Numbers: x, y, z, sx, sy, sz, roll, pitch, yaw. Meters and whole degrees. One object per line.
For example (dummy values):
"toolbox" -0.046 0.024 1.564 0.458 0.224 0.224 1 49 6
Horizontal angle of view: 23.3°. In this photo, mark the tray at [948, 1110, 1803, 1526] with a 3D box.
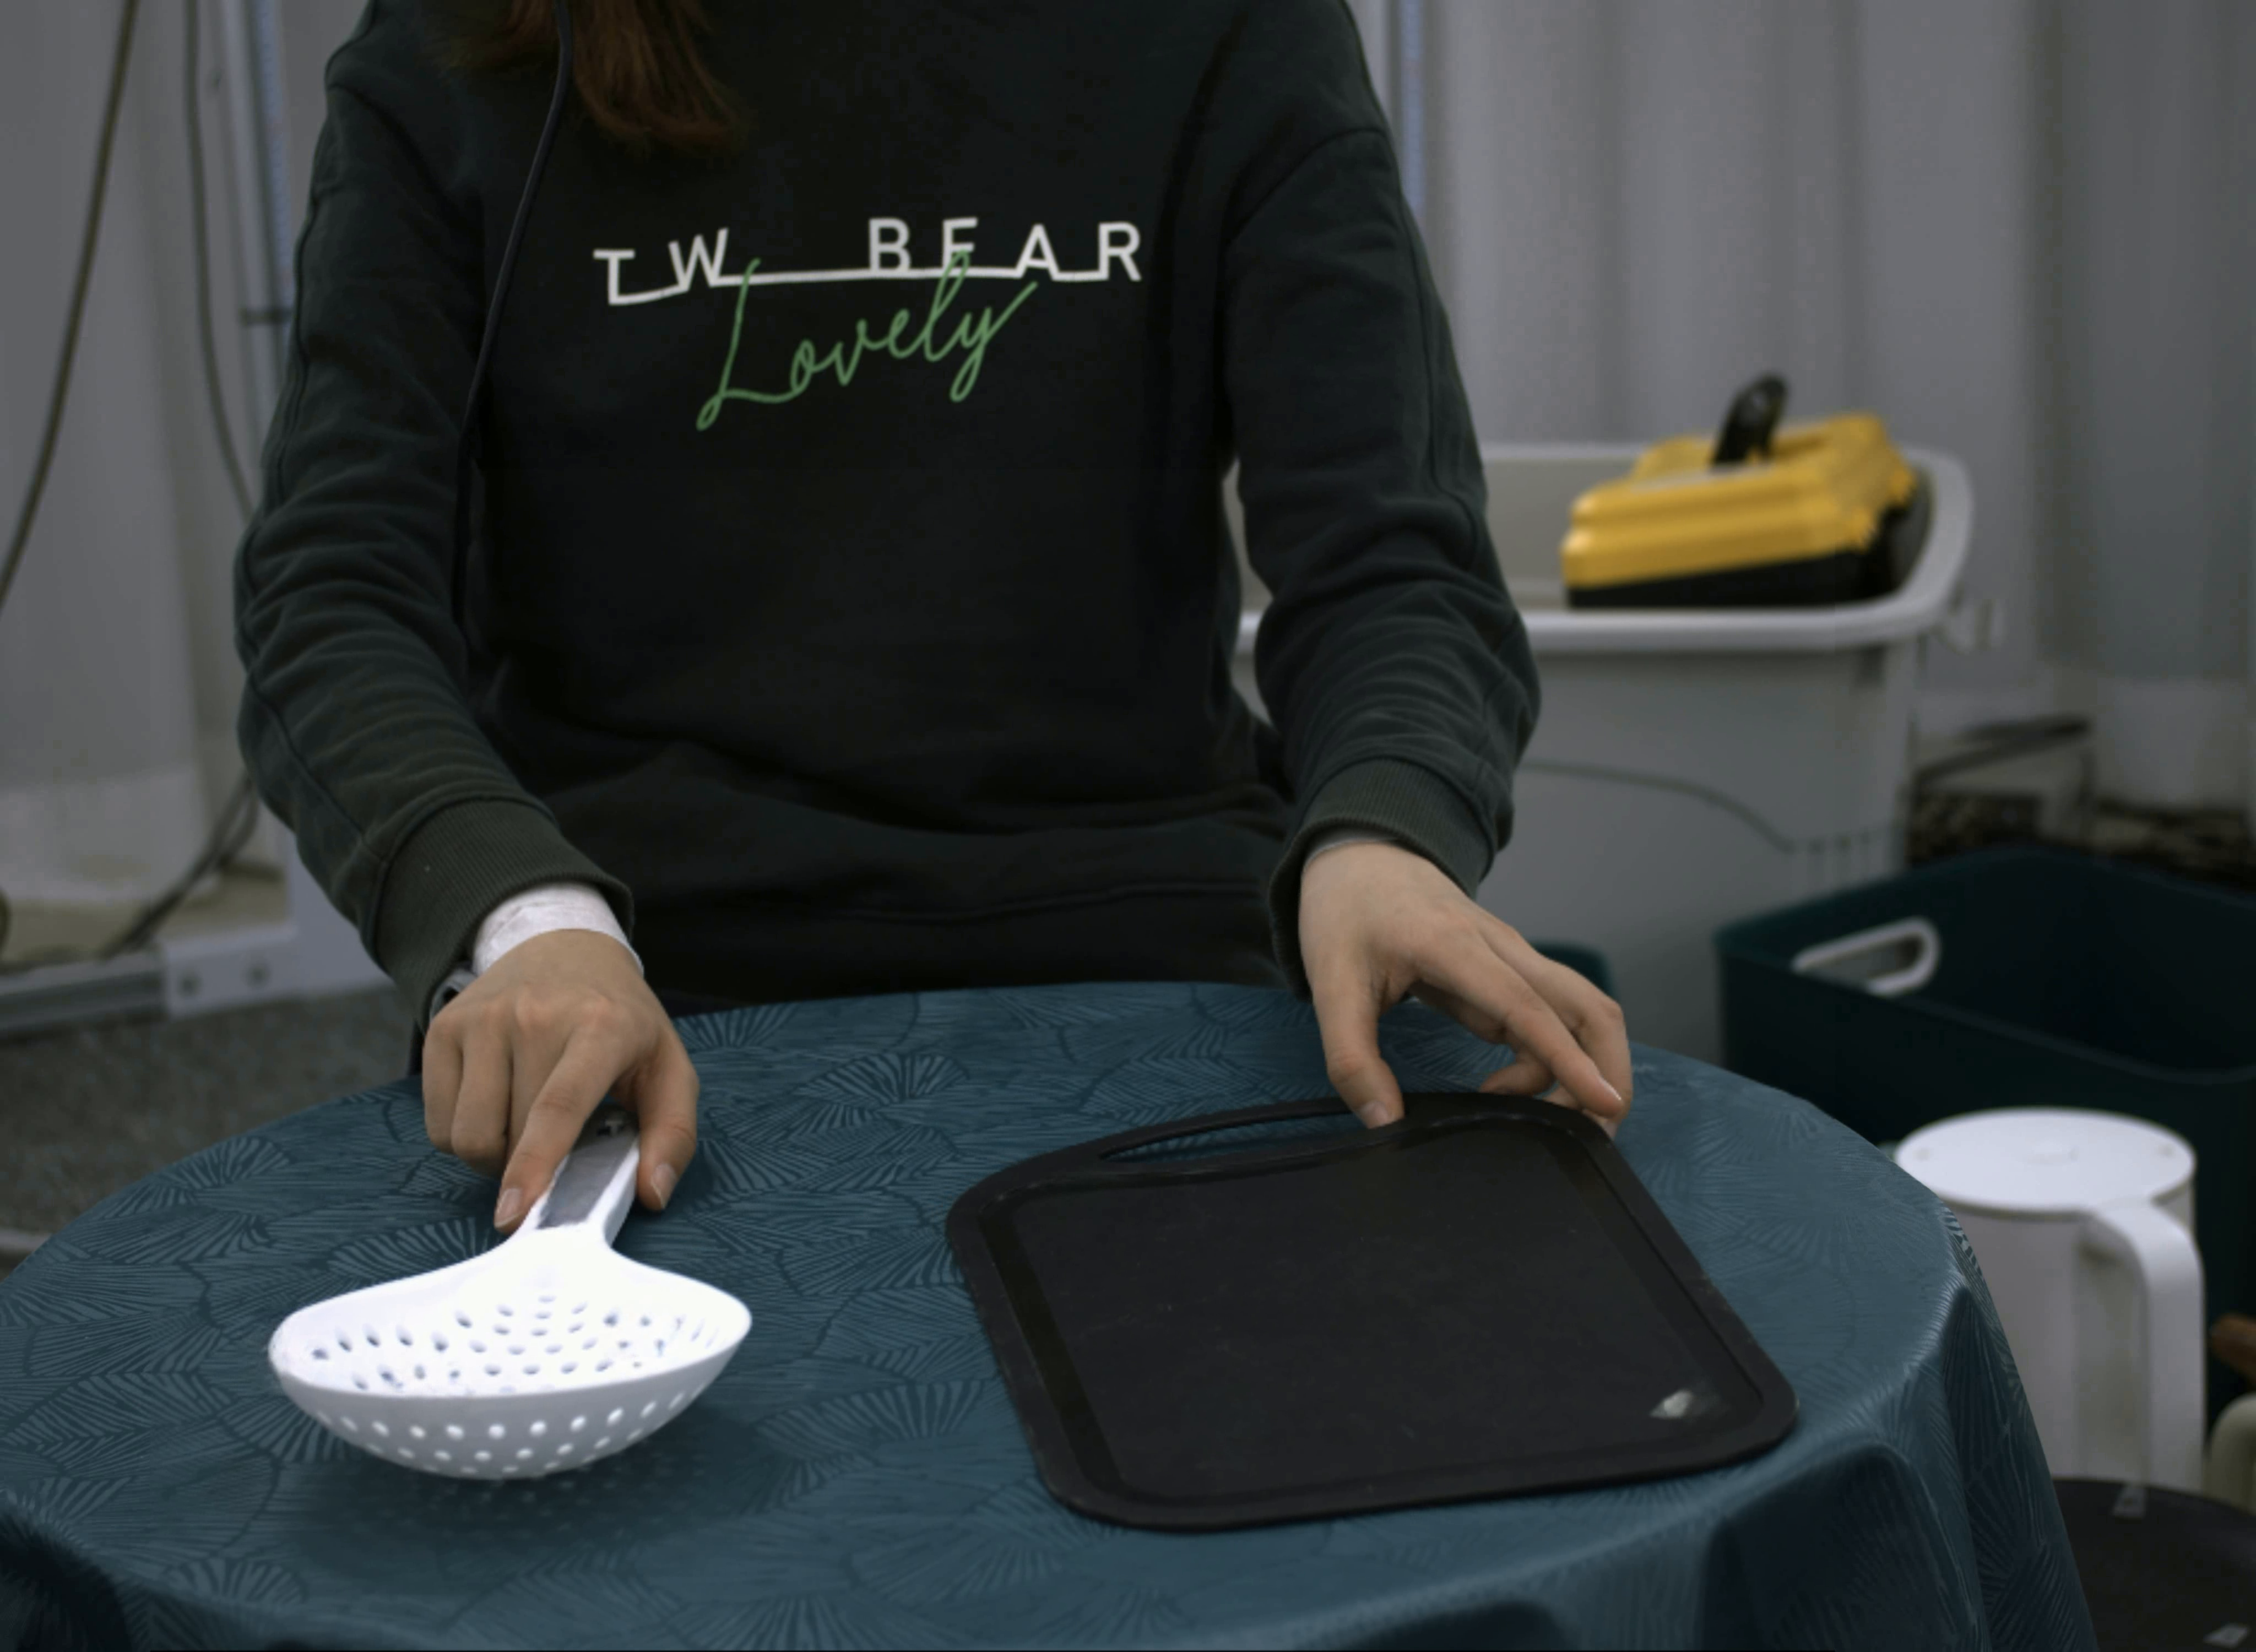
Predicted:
"tray" 0.062 0.136 1.601 0.210 0.010 0.328 -6 16 -8

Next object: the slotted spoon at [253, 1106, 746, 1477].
"slotted spoon" -0.169 0.127 1.611 0.135 0.045 0.352 0 14 2
